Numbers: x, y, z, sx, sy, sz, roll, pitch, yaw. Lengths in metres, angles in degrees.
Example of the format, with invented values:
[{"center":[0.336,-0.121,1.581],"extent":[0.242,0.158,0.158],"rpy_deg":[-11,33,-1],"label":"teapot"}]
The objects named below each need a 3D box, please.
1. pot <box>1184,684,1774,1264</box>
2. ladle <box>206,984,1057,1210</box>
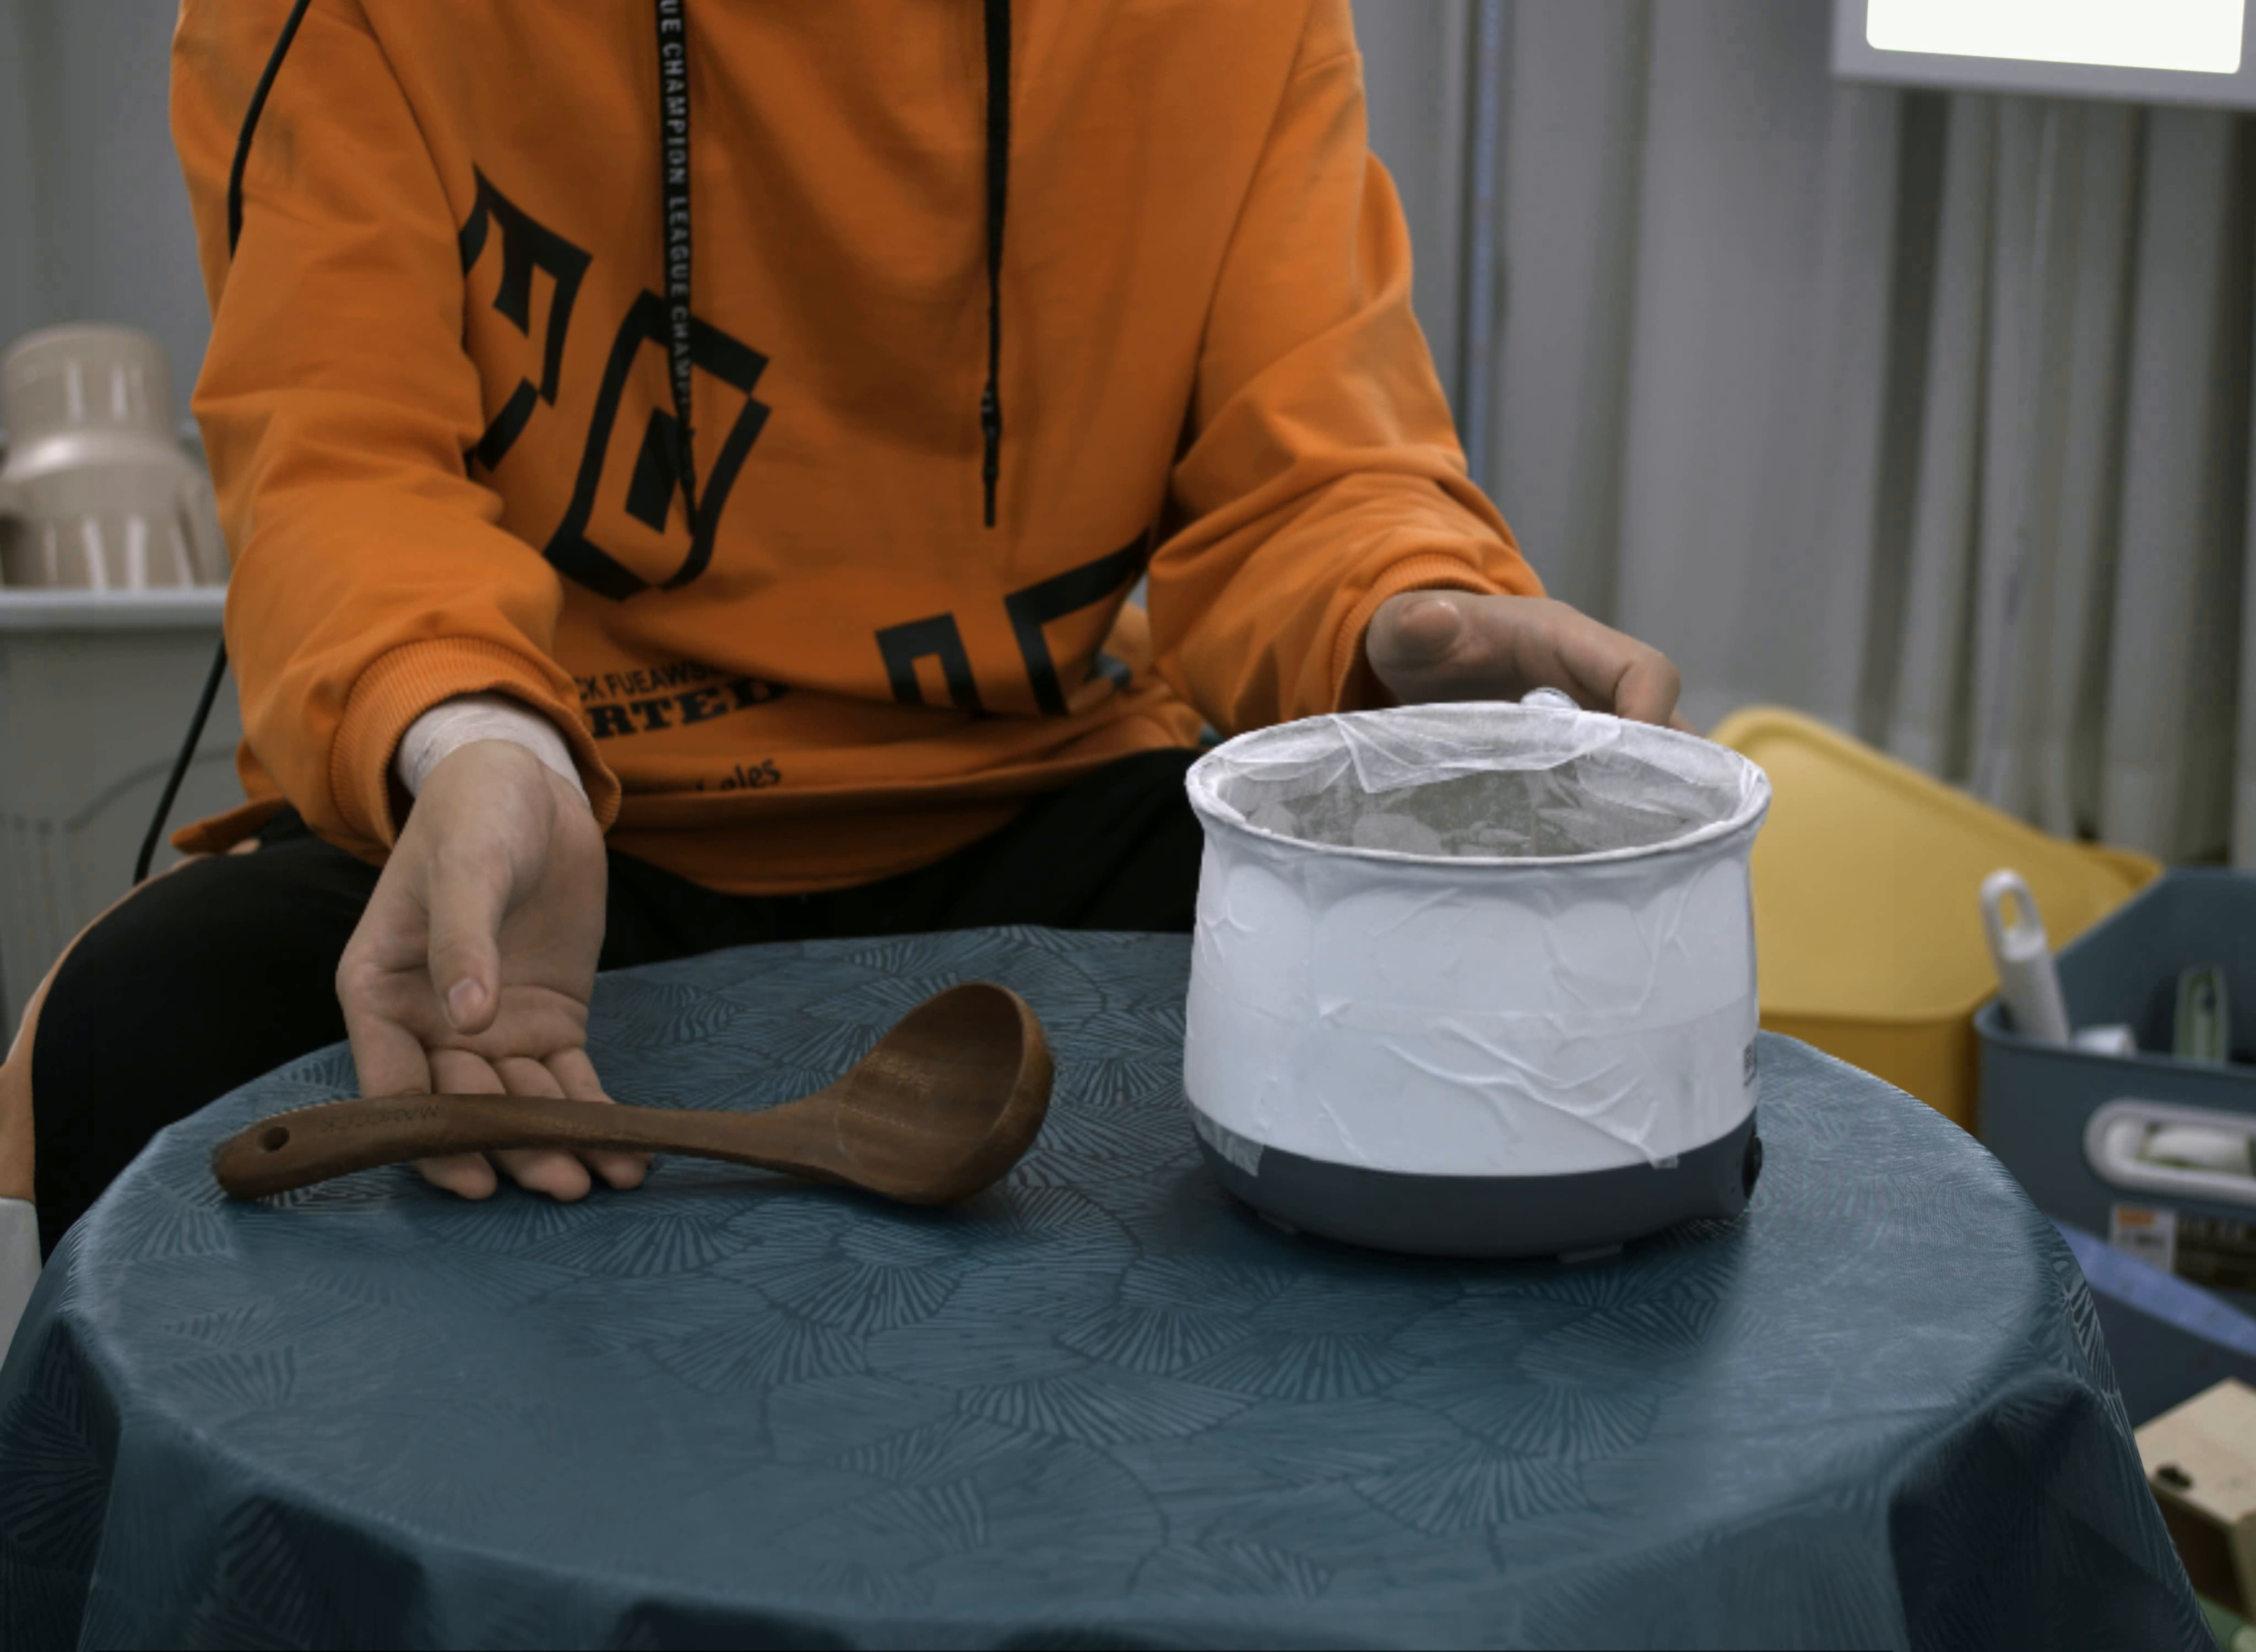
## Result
[{"center":[0.112,0.039,1.630],"extent":[0.177,0.138,0.233],"rpy_deg":[5,17,14],"label":"pot"},{"center":[-0.152,0.085,1.603],"extent":[0.260,0.066,0.076],"rpy_deg":[0,42,-5],"label":"ladle"}]
